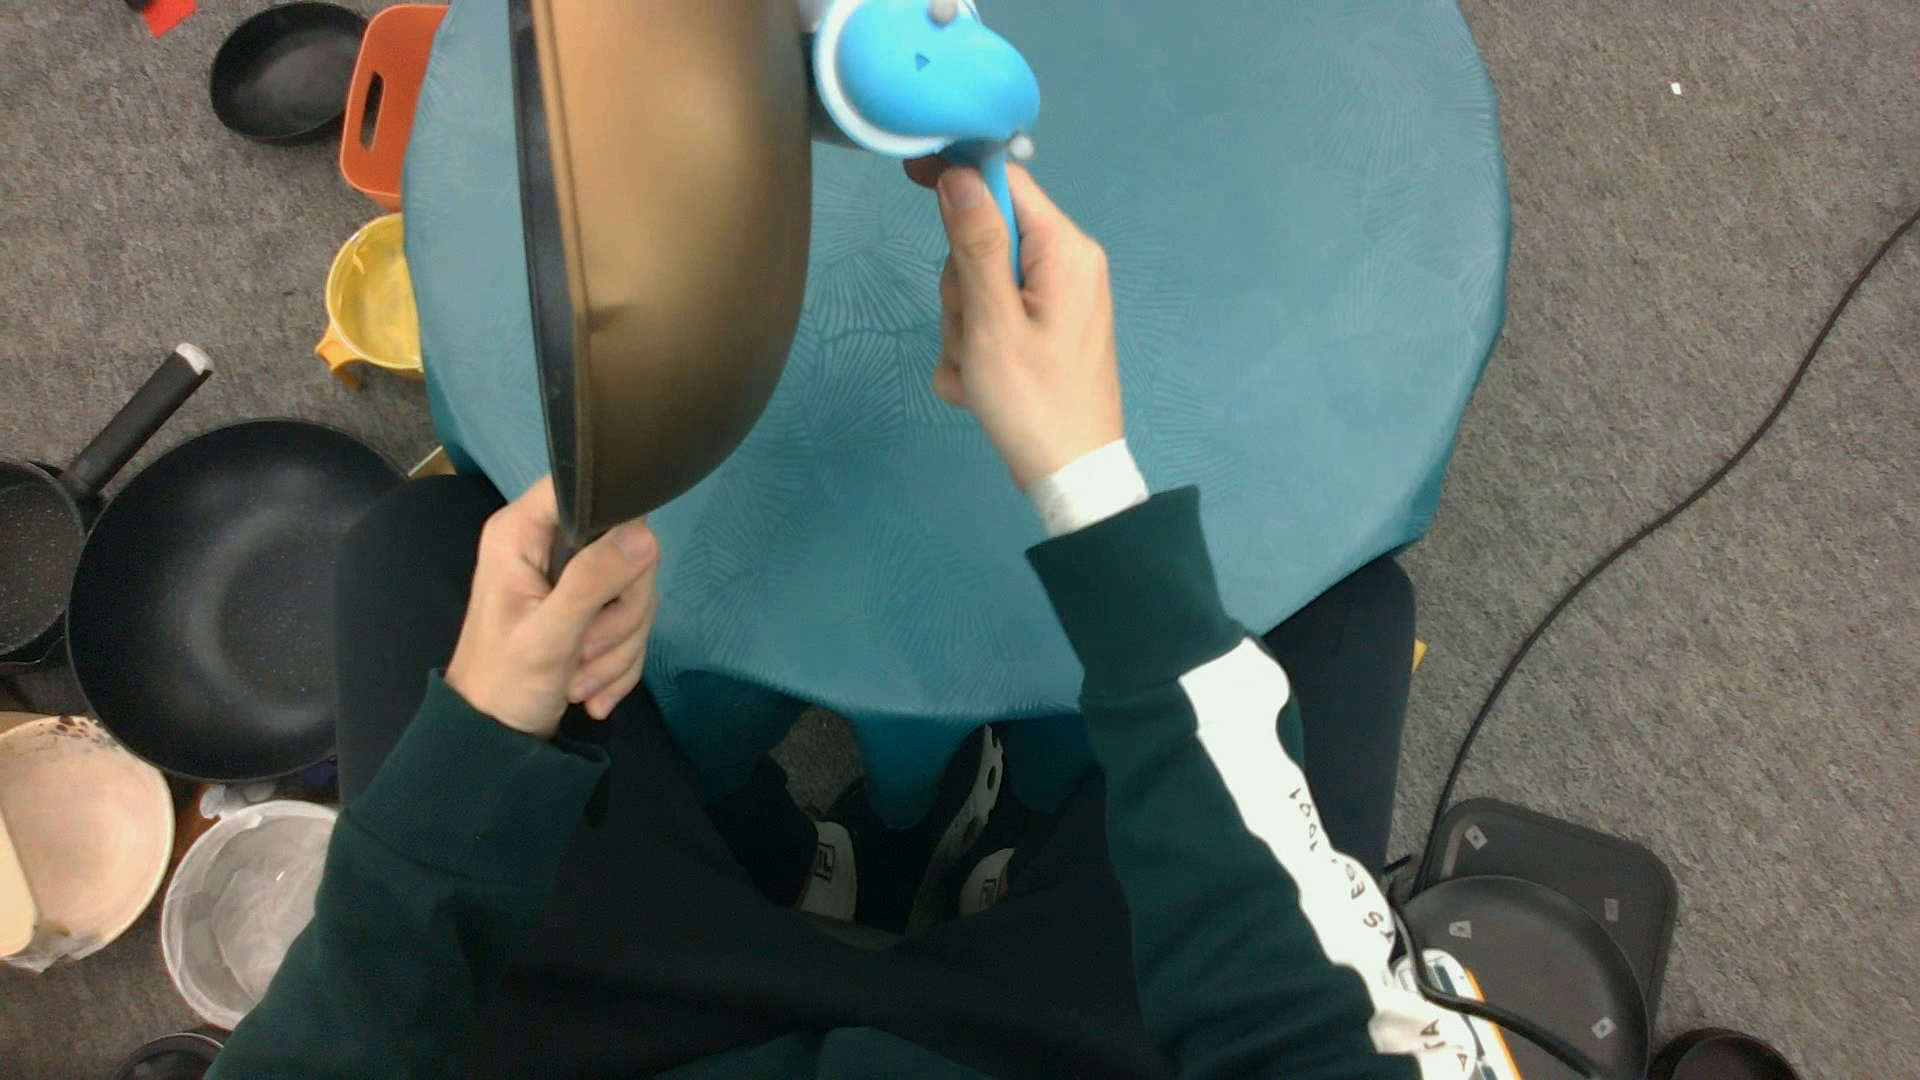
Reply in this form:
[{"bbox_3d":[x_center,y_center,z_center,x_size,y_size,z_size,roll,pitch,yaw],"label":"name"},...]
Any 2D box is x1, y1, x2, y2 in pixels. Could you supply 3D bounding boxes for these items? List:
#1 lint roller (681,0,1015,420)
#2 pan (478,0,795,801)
[{"bbox_3d":[-0.026,-0.133,0.524,0.068,0.229,0.180,-40,121,-7],"label":"lint roller"},{"bbox_3d":[-0.120,-0.068,0.514,0.087,0.461,0.289,-9,39,-18],"label":"pan"}]
